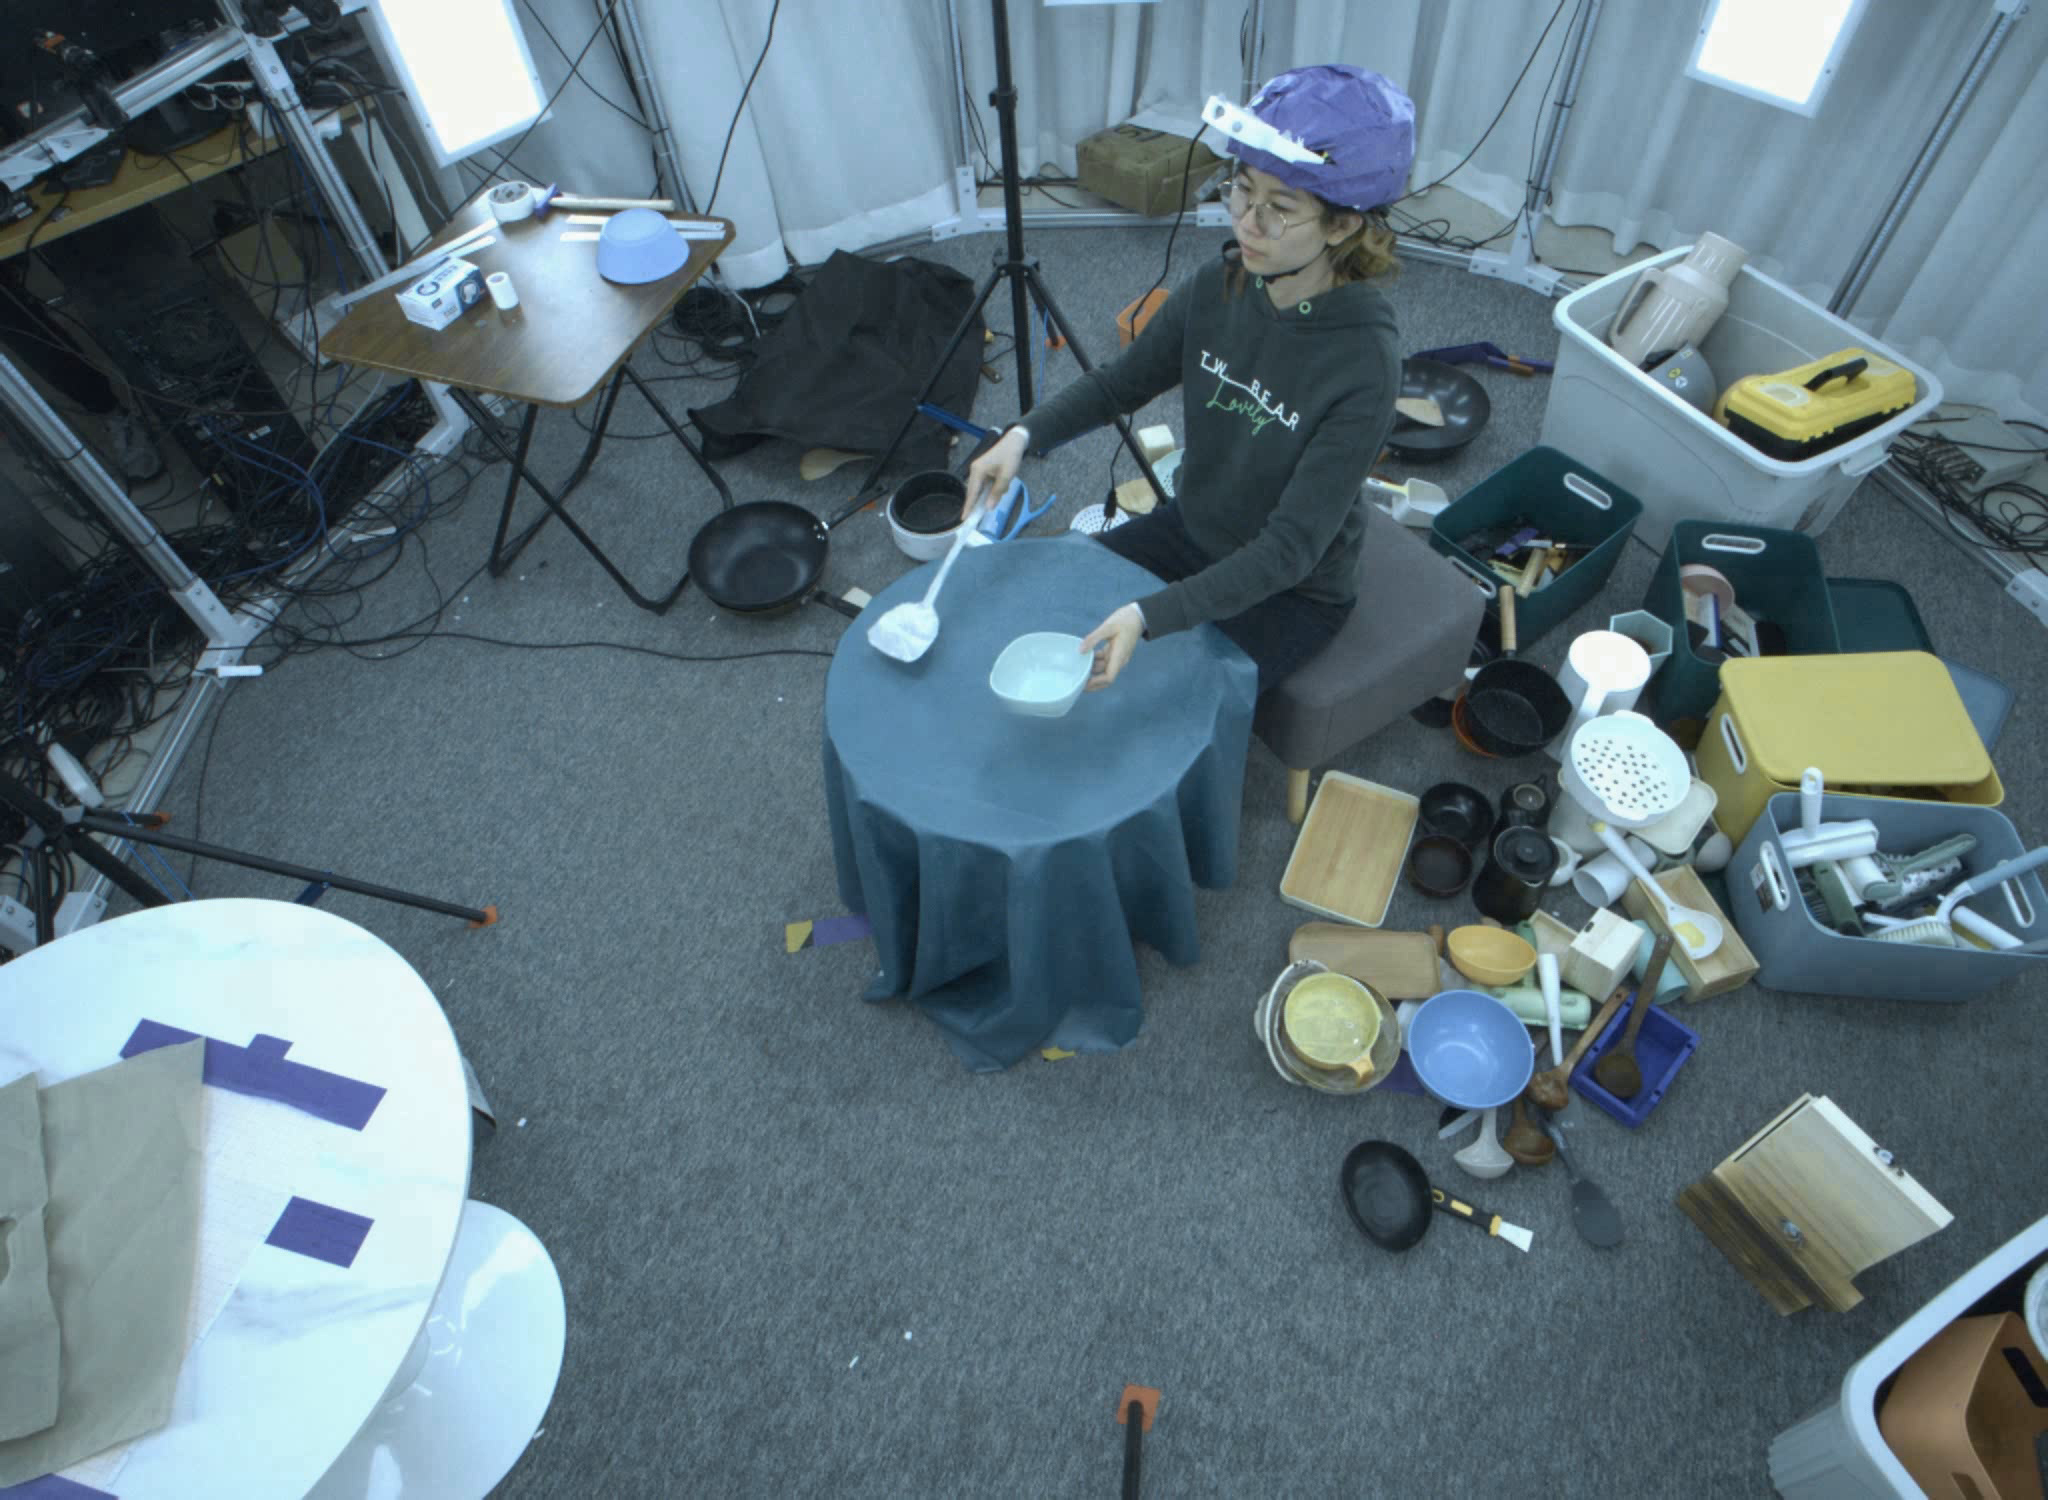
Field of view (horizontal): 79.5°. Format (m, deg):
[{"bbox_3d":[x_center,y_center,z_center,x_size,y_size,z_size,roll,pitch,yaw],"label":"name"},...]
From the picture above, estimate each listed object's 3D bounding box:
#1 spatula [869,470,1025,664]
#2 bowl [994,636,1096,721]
[{"bbox_3d":[-0.109,-0.294,1.887,0.097,0.045,0.365,30,88,19],"label":"spatula"},{"bbox_3d":[0.034,-0.092,1.730,0.150,0.059,0.150,-7,48,10],"label":"bowl"}]
